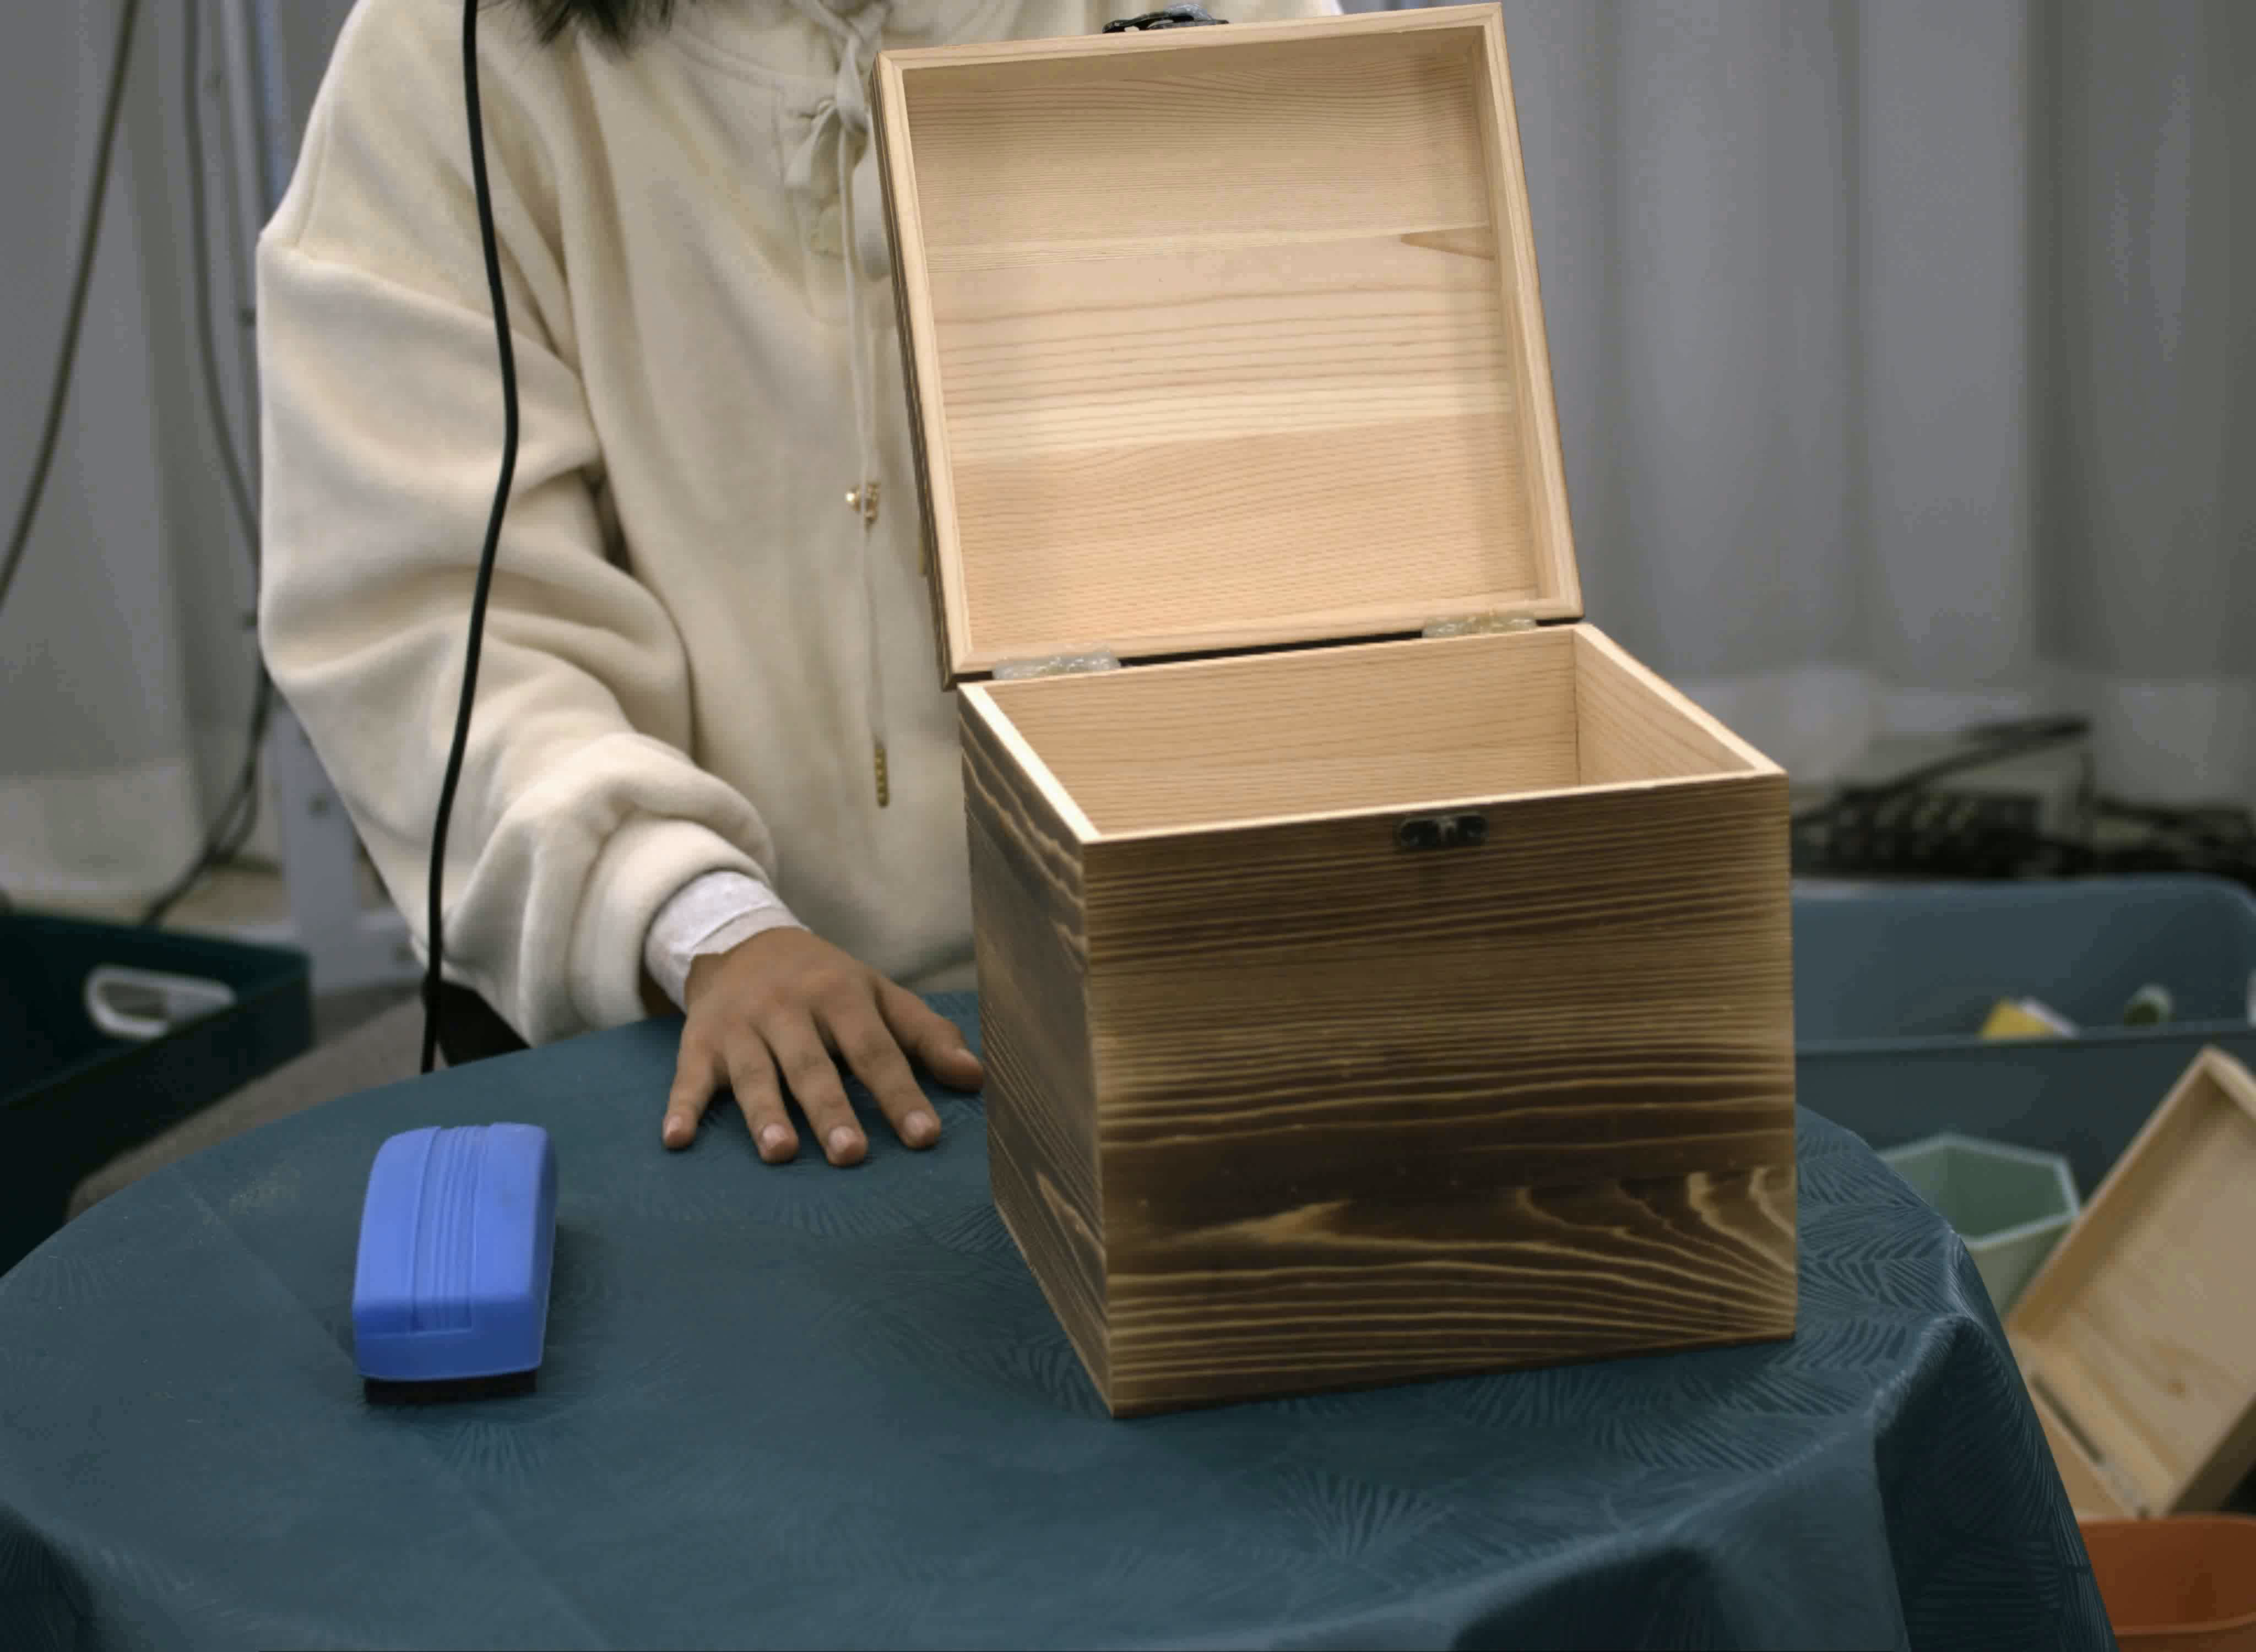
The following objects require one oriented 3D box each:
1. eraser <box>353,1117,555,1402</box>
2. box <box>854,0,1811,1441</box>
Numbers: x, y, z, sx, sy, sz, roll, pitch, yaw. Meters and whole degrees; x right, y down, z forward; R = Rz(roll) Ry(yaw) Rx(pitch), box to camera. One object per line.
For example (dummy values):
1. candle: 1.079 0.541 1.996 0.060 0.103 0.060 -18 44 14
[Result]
1. eraser: -0.200 0.123 1.632 0.053 0.047 0.163 -4 15 -3
2. box: 0.053 -0.051 1.642 0.208 0.374 0.324 -6 13 -10
